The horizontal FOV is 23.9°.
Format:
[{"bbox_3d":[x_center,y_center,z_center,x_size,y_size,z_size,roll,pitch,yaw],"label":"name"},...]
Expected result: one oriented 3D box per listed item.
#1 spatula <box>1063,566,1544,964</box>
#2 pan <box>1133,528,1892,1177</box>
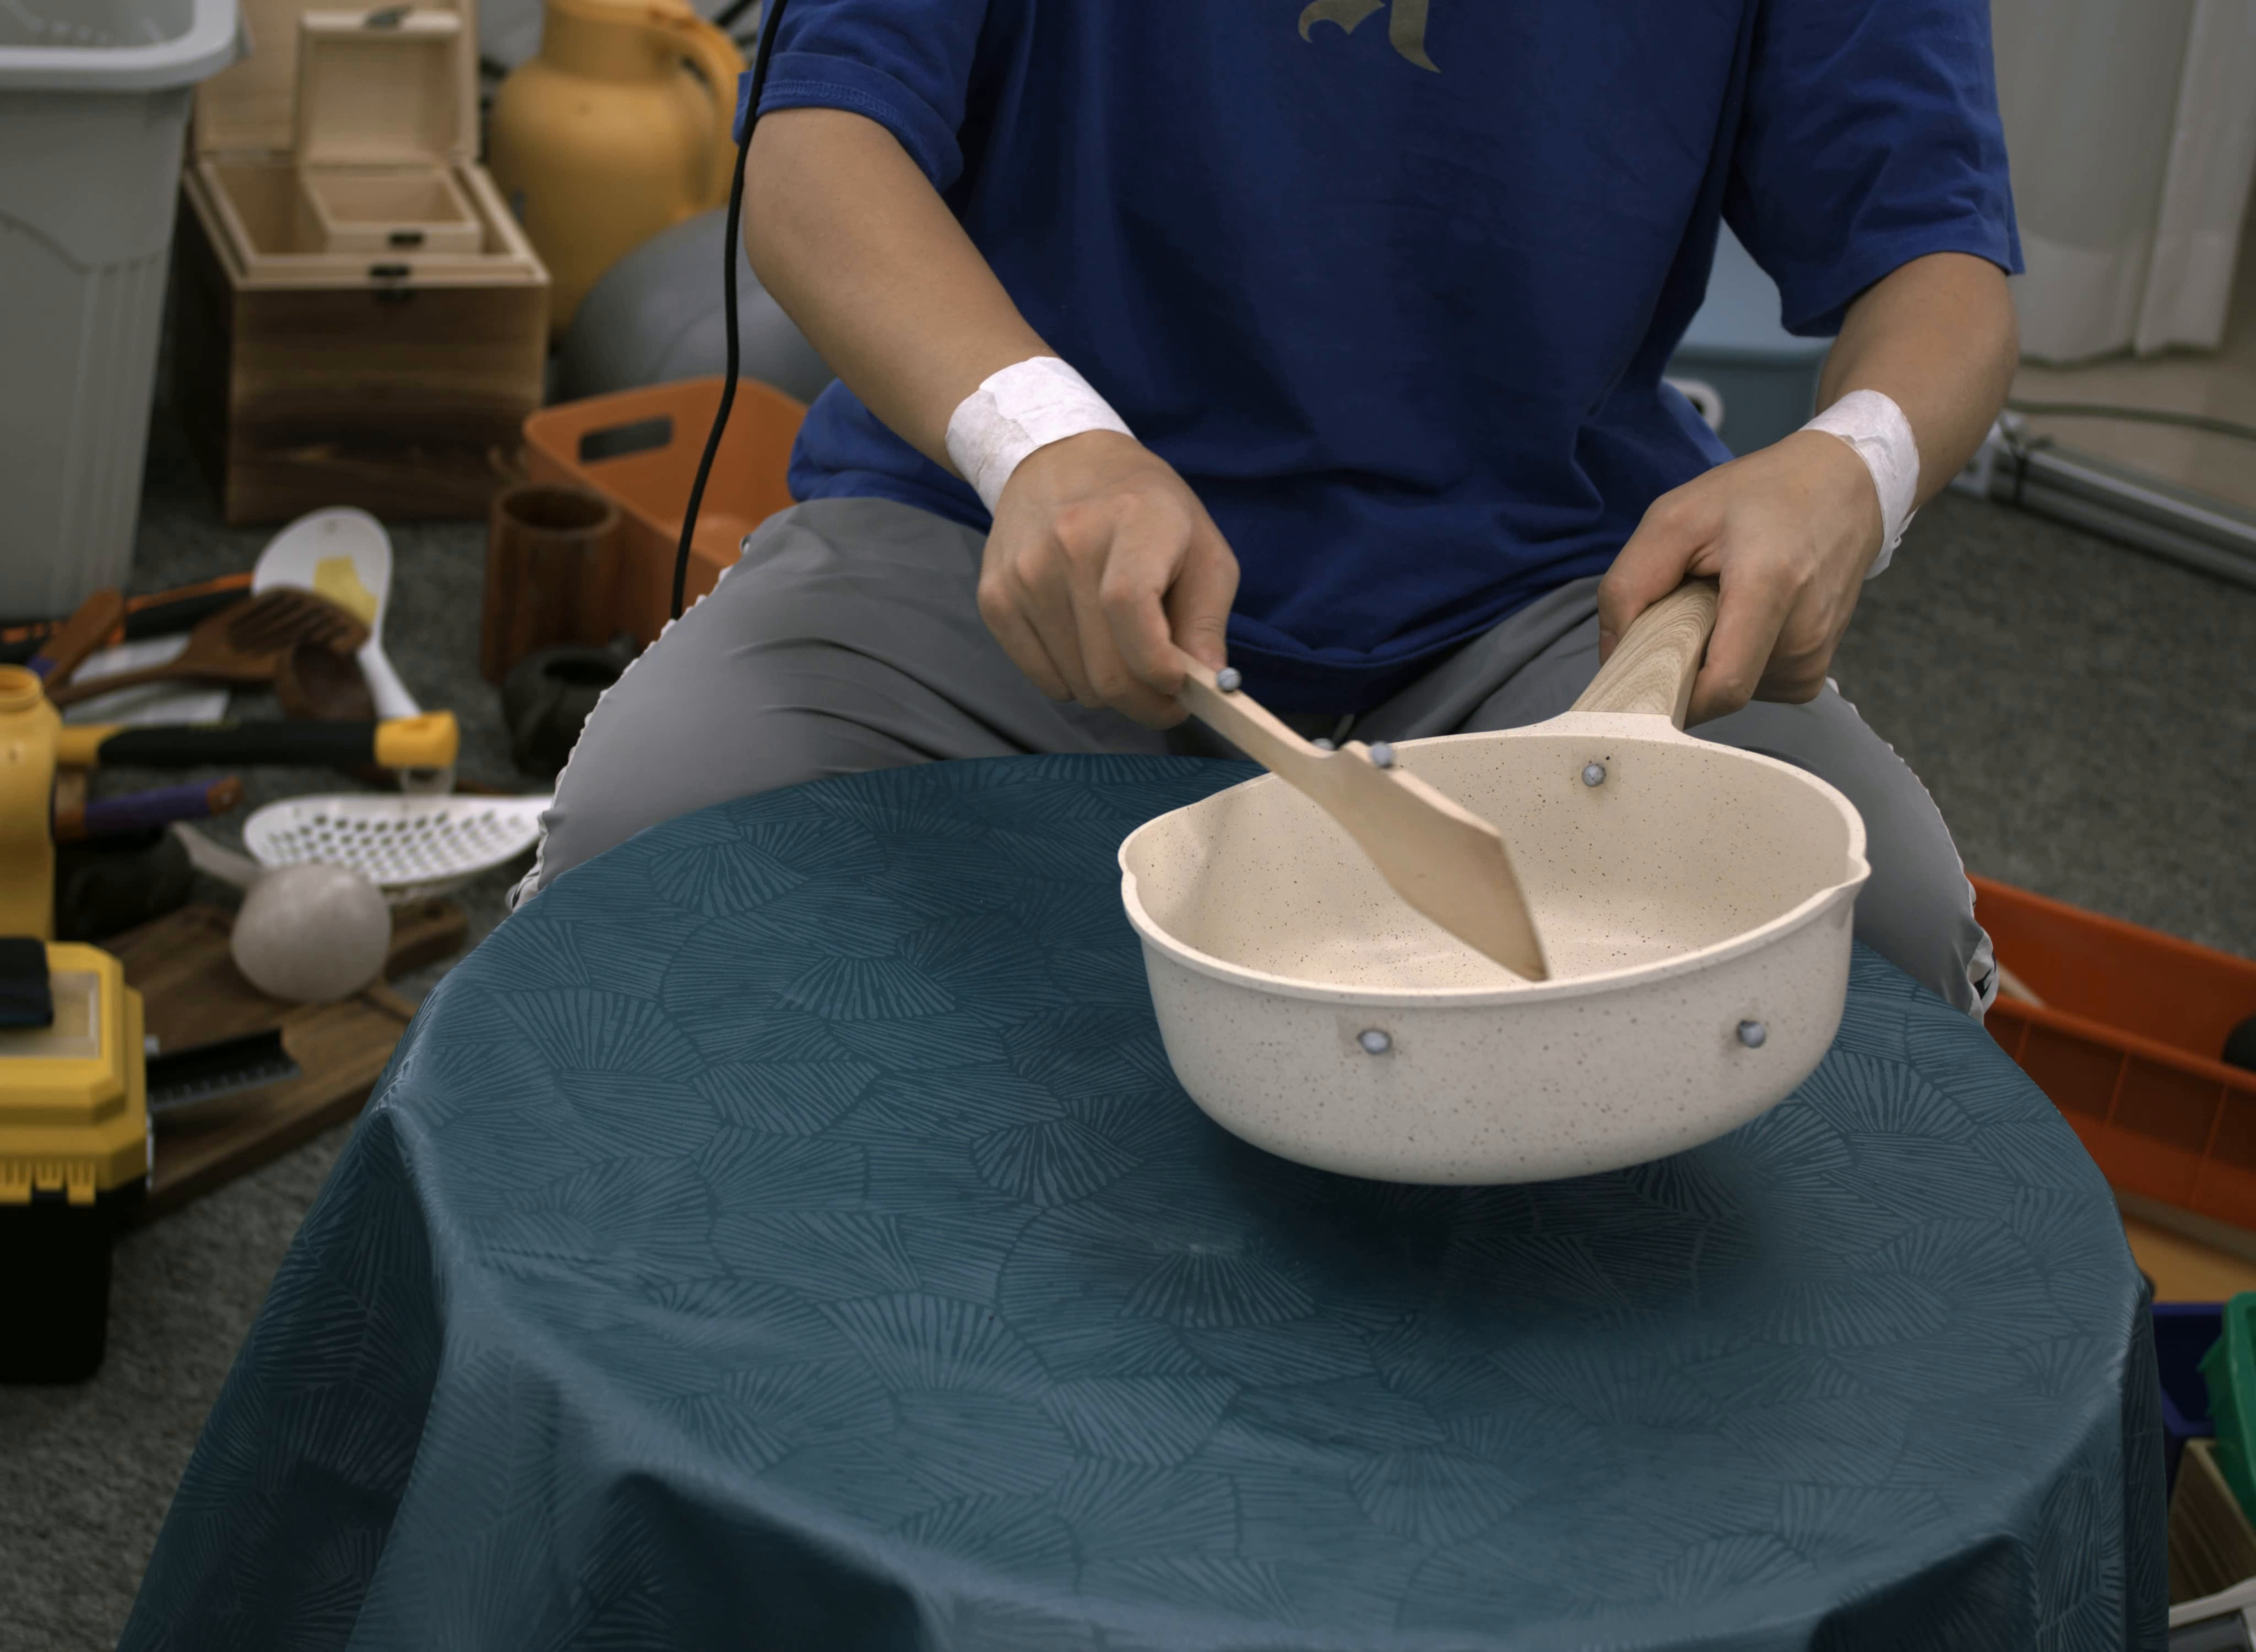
[{"bbox_3d":[0.053,-0.030,1.856,0.010,0.072,0.295,-33,38,-15],"label":"spatula"},{"bbox_3d":[0.163,0.007,1.880,0.264,0.102,0.435,1,20,22],"label":"pan"}]
